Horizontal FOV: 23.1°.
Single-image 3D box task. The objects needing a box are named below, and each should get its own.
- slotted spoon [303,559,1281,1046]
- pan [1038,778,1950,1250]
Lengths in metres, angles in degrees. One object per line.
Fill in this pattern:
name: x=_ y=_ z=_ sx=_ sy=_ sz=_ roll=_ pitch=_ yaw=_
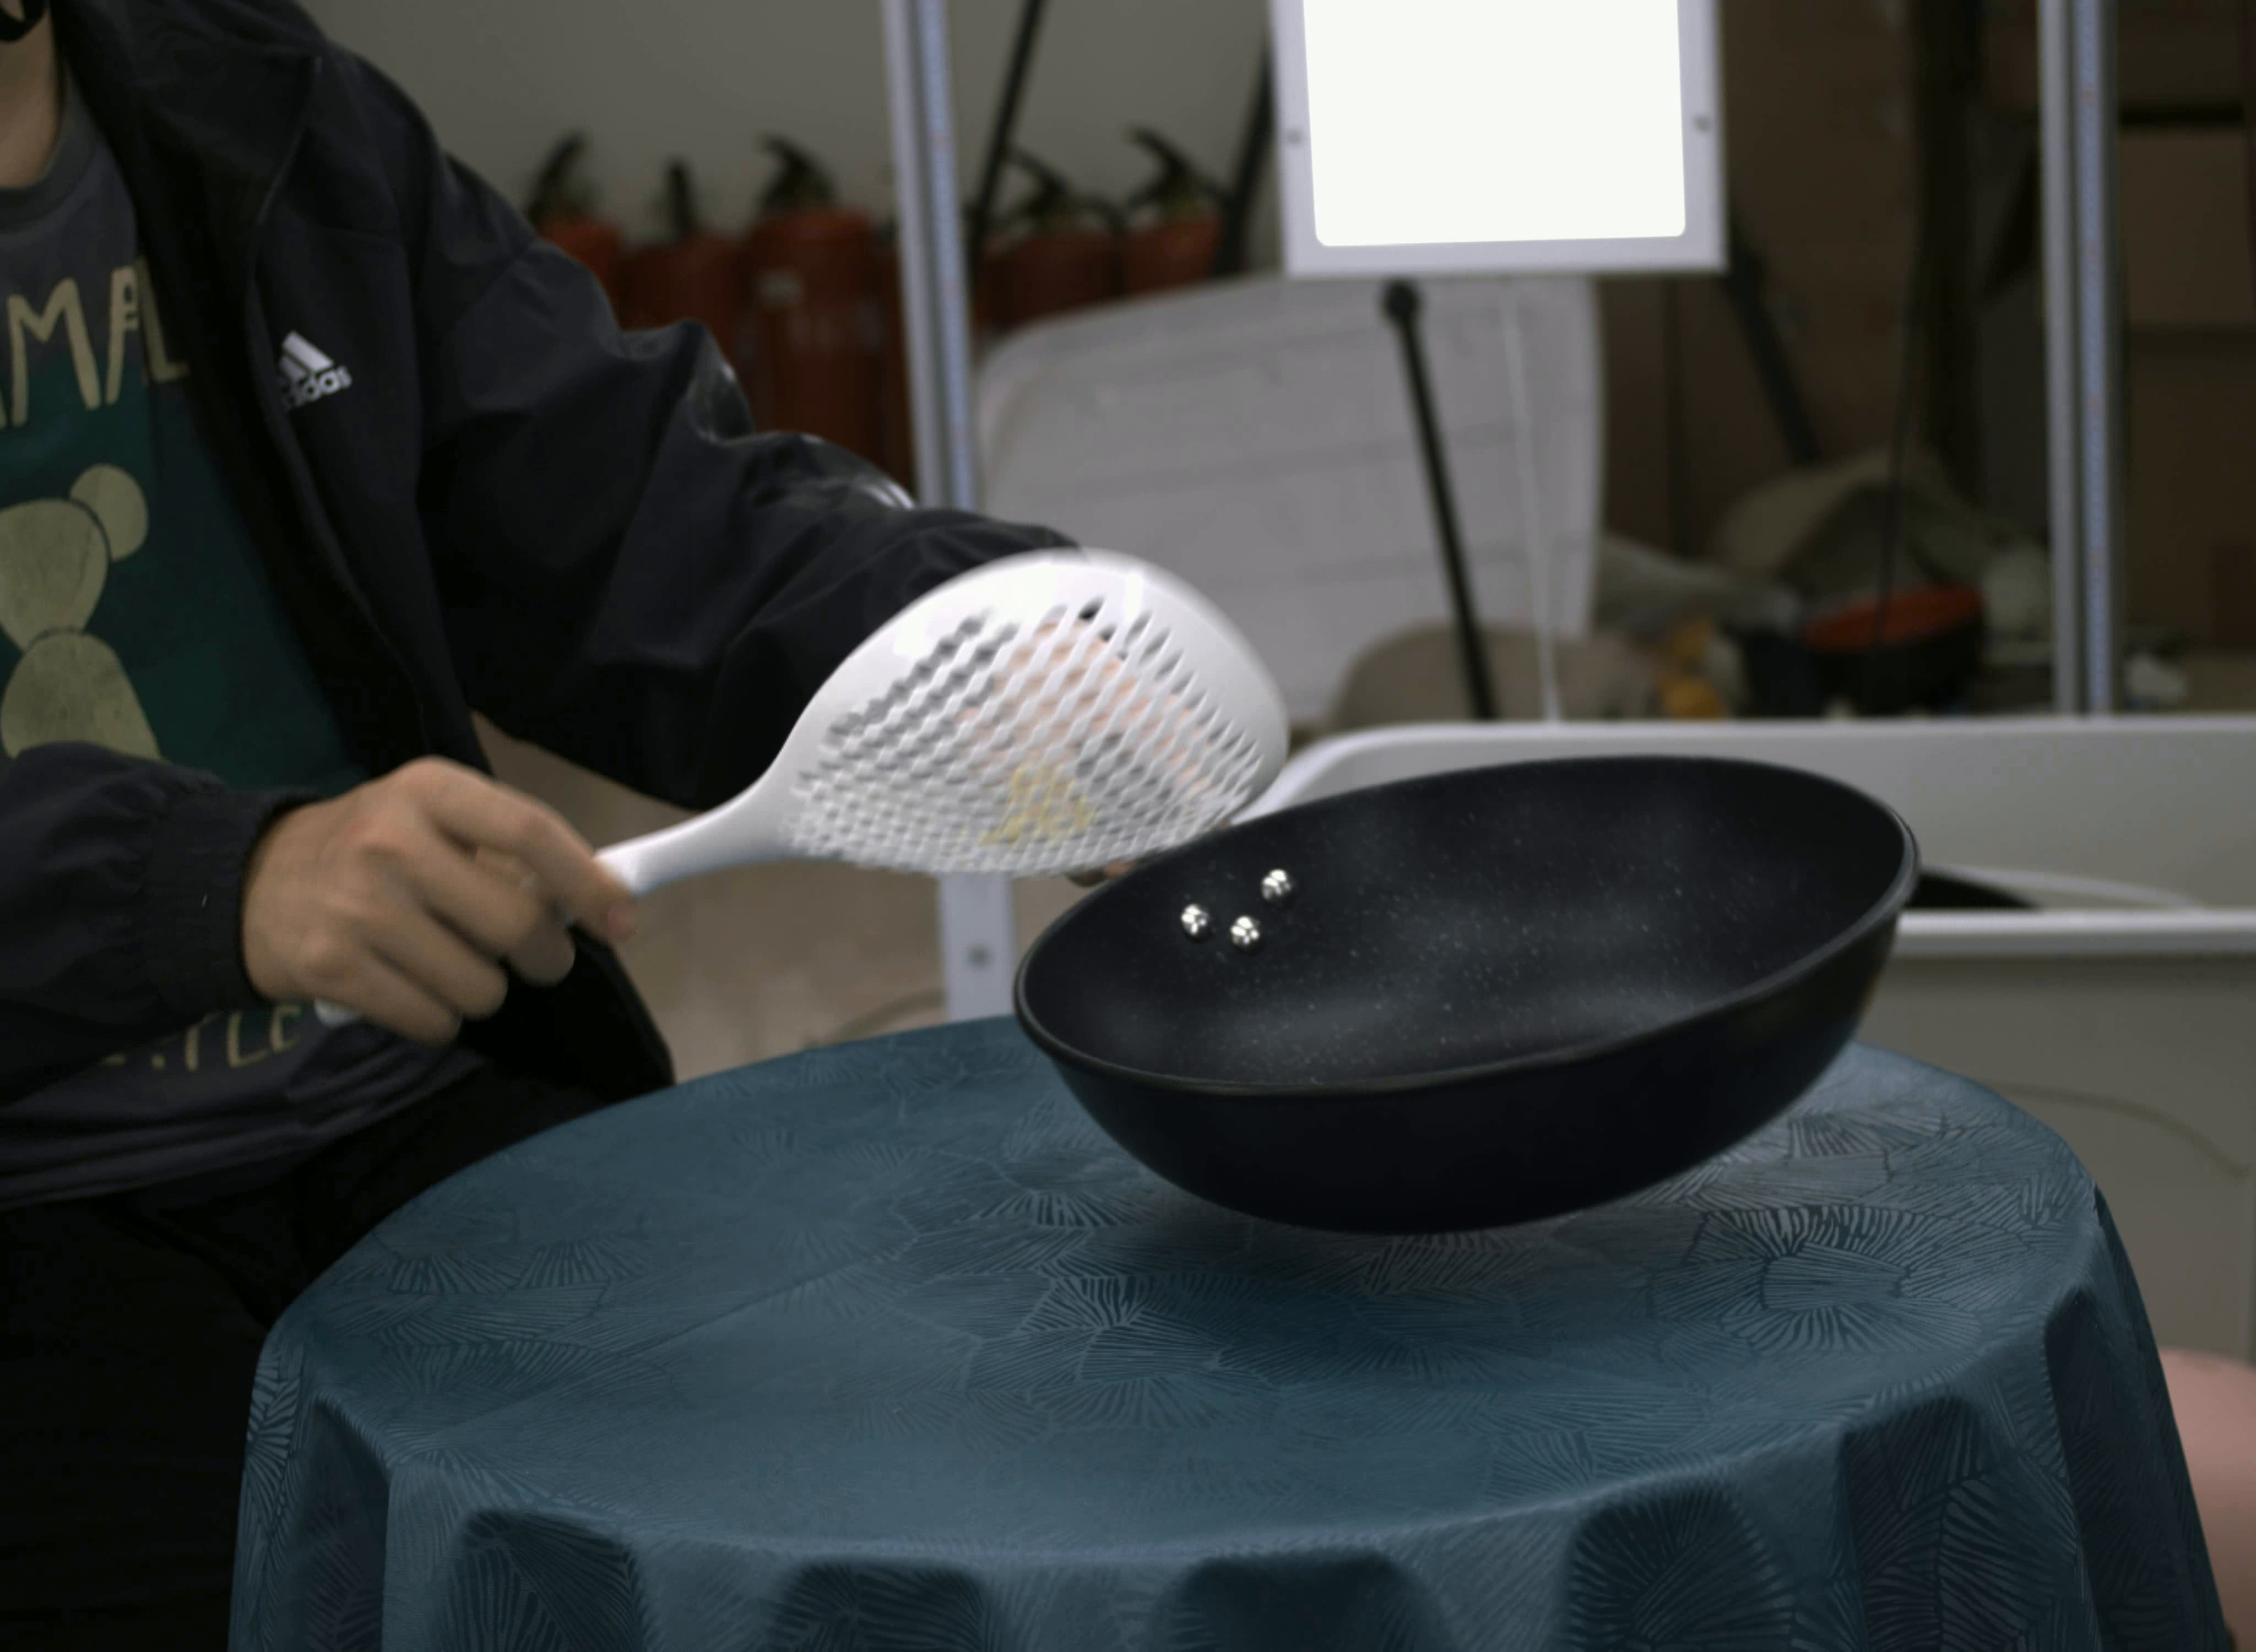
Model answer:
slotted spoon: x=-0.115 y=0.011 z=1.759 sx=0.354 sy=0.135 sz=0.050 roll=-17 pitch=46 yaw=28
pan: x=0.080 y=0.046 z=1.920 sx=0.303 sy=0.112 sz=0.486 roll=-19 pitch=20 yaw=-29
